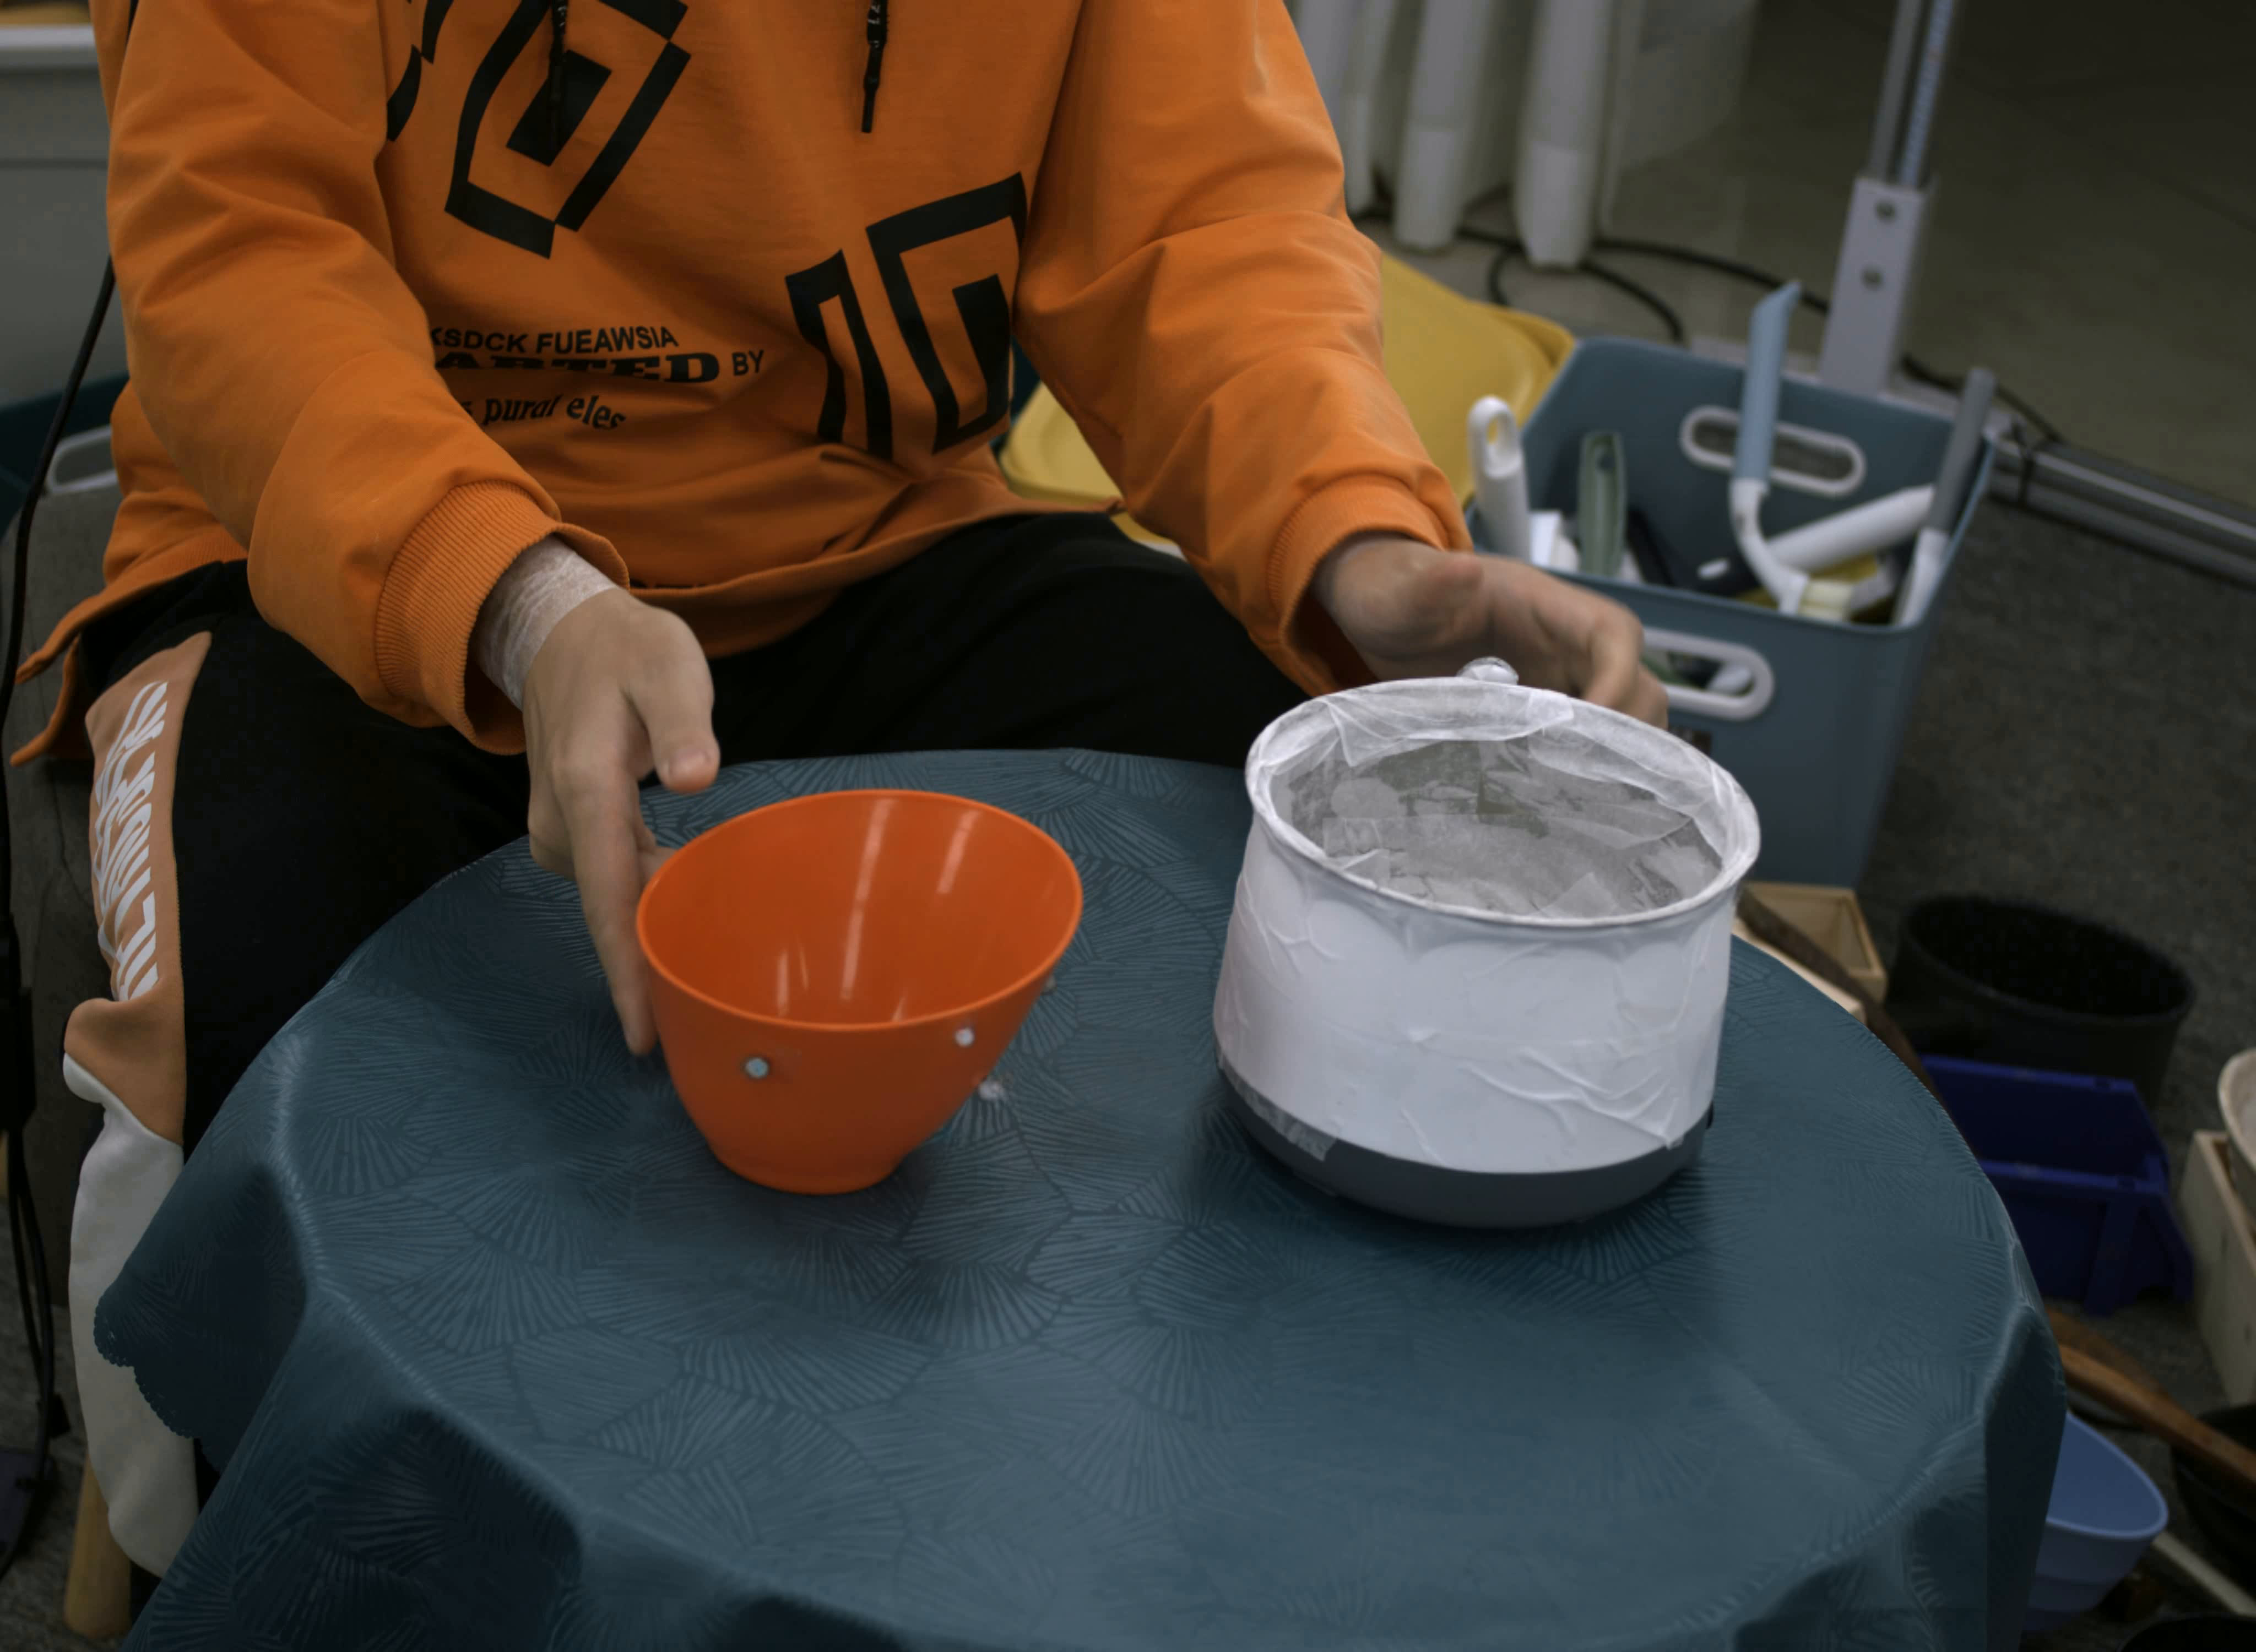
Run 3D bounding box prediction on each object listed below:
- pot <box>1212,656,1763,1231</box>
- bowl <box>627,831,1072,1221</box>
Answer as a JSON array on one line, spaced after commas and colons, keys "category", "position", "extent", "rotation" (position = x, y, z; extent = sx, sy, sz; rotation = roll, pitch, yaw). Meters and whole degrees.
[{"category": "pot", "position": [0.120, 0.033, 1.856], "extent": [0.178, 0.136, 0.235], "rotation": [6, 27, -3]}, {"category": "bowl", "position": [-0.099, 0.072, 1.791], "extent": [0.147, 0.104, 0.149], "rotation": [9, 22, -4]}]
